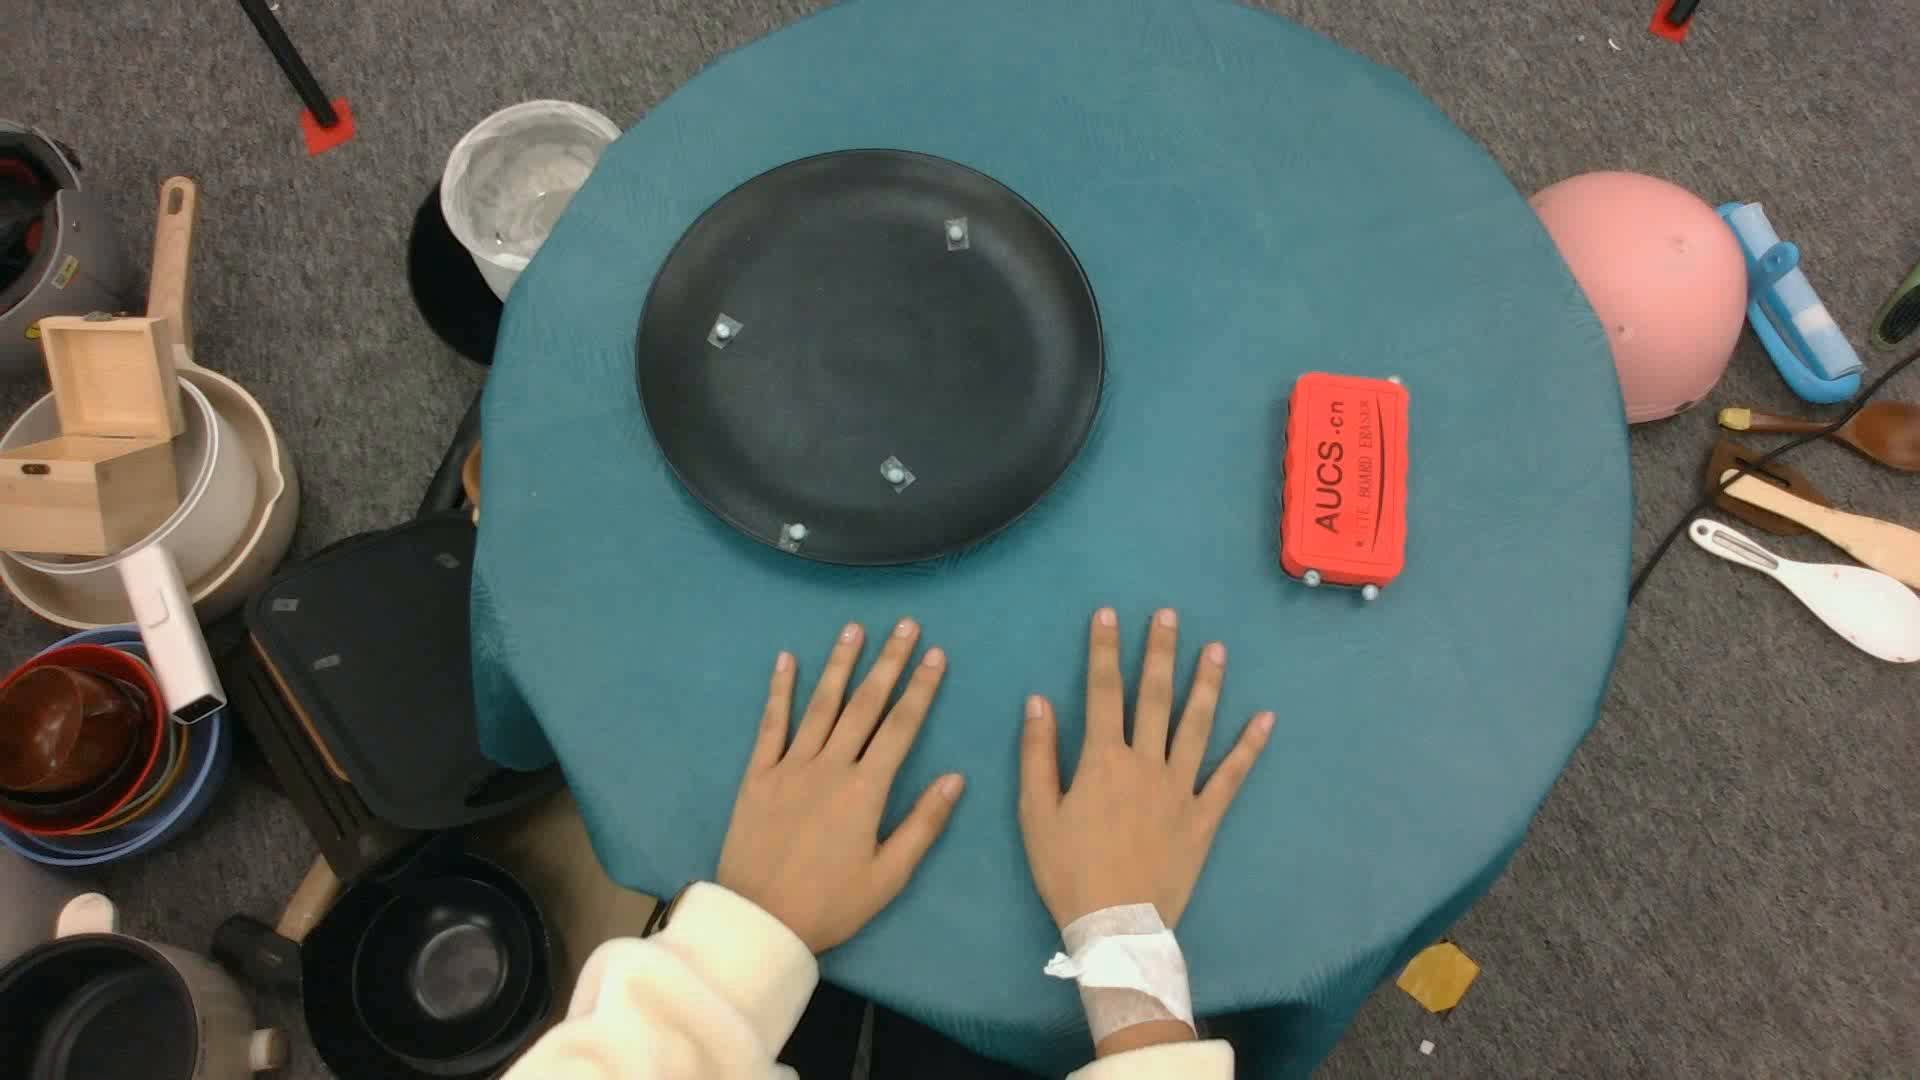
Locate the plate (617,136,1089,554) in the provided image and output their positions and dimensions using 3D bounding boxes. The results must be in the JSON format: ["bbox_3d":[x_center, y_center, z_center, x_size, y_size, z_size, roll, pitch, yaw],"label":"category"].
[{"bbox_3d":[-0.055,-0.104,0.720,0.244,0.023,0.245,1,70,-2],"label":"plate"}]

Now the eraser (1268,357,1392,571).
[{"bbox_3d":[0.188,-0.039,0.701,0.059,0.023,0.108,7,67,0],"label":"eraser"}]
